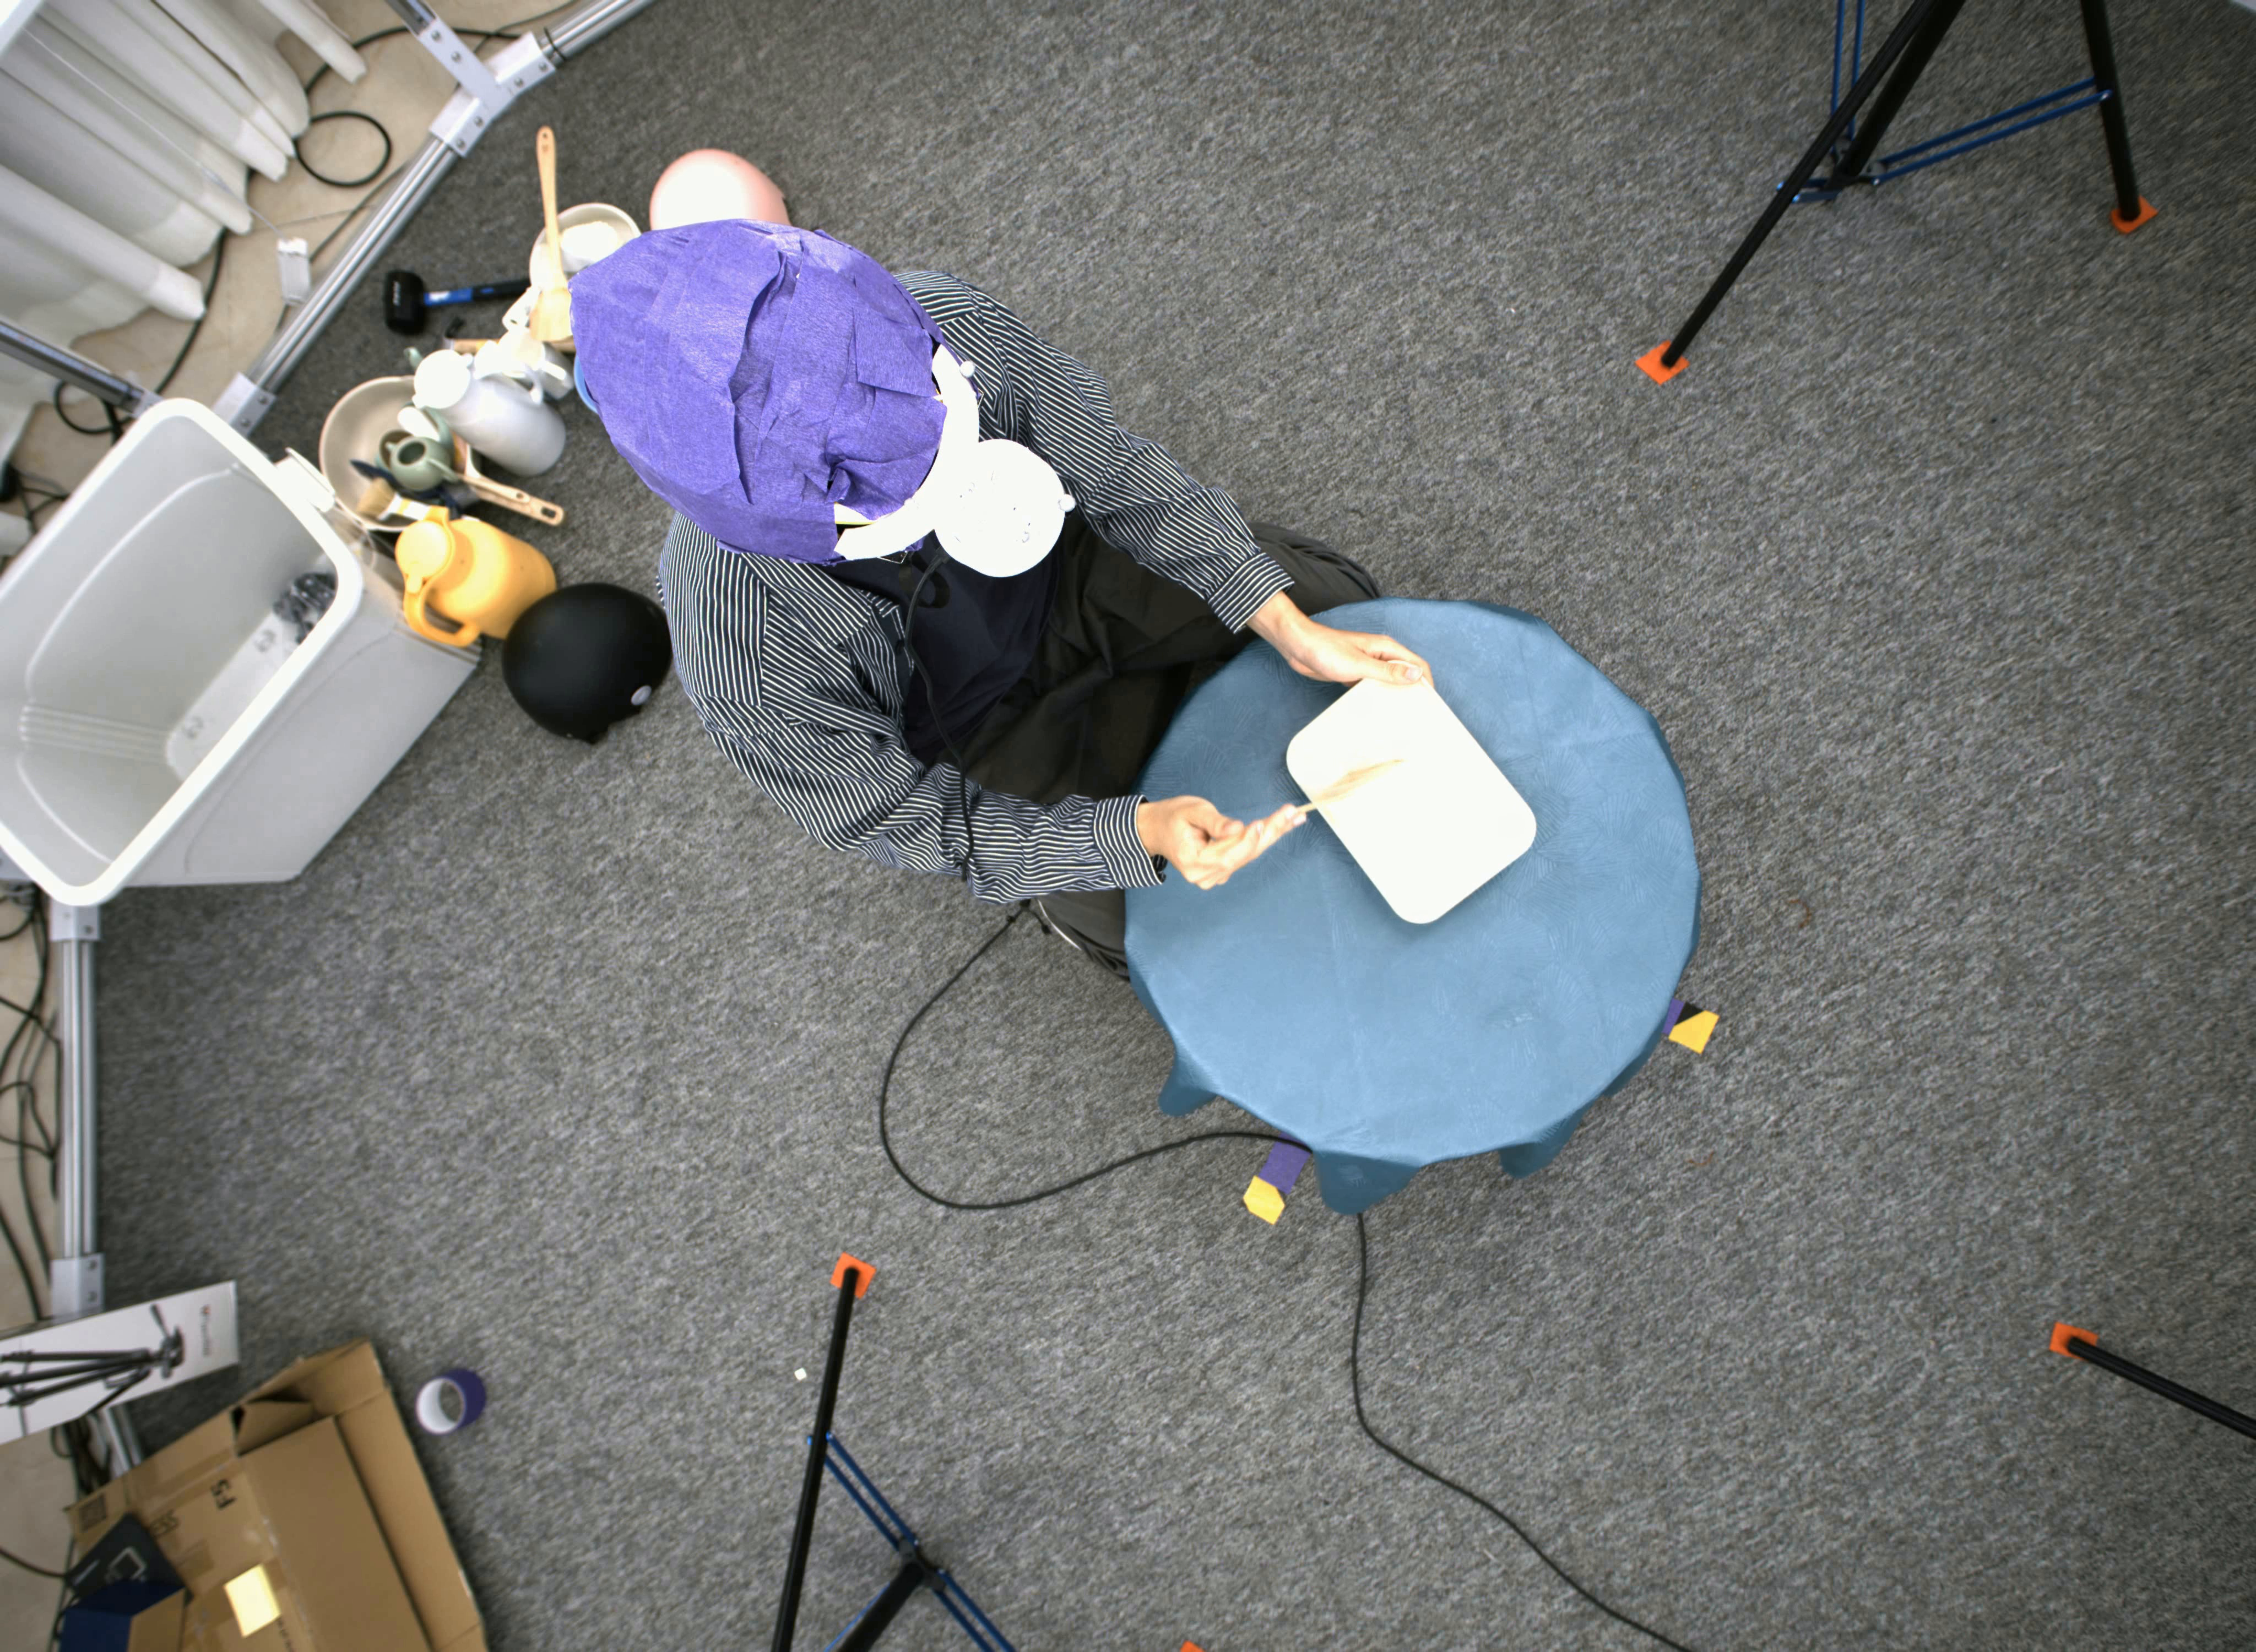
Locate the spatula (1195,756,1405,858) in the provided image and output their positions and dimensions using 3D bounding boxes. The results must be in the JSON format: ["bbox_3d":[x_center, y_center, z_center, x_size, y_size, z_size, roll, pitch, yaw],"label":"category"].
[{"bbox_3d":[0.157,-0.019,1.281,0.081,0.322,0.016,-14,95,40],"label":"spatula"}]

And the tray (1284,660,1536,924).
[{"bbox_3d":[0.281,-0.036,1.386,0.174,0.017,0.238,-40,79,22],"label":"tray"}]
